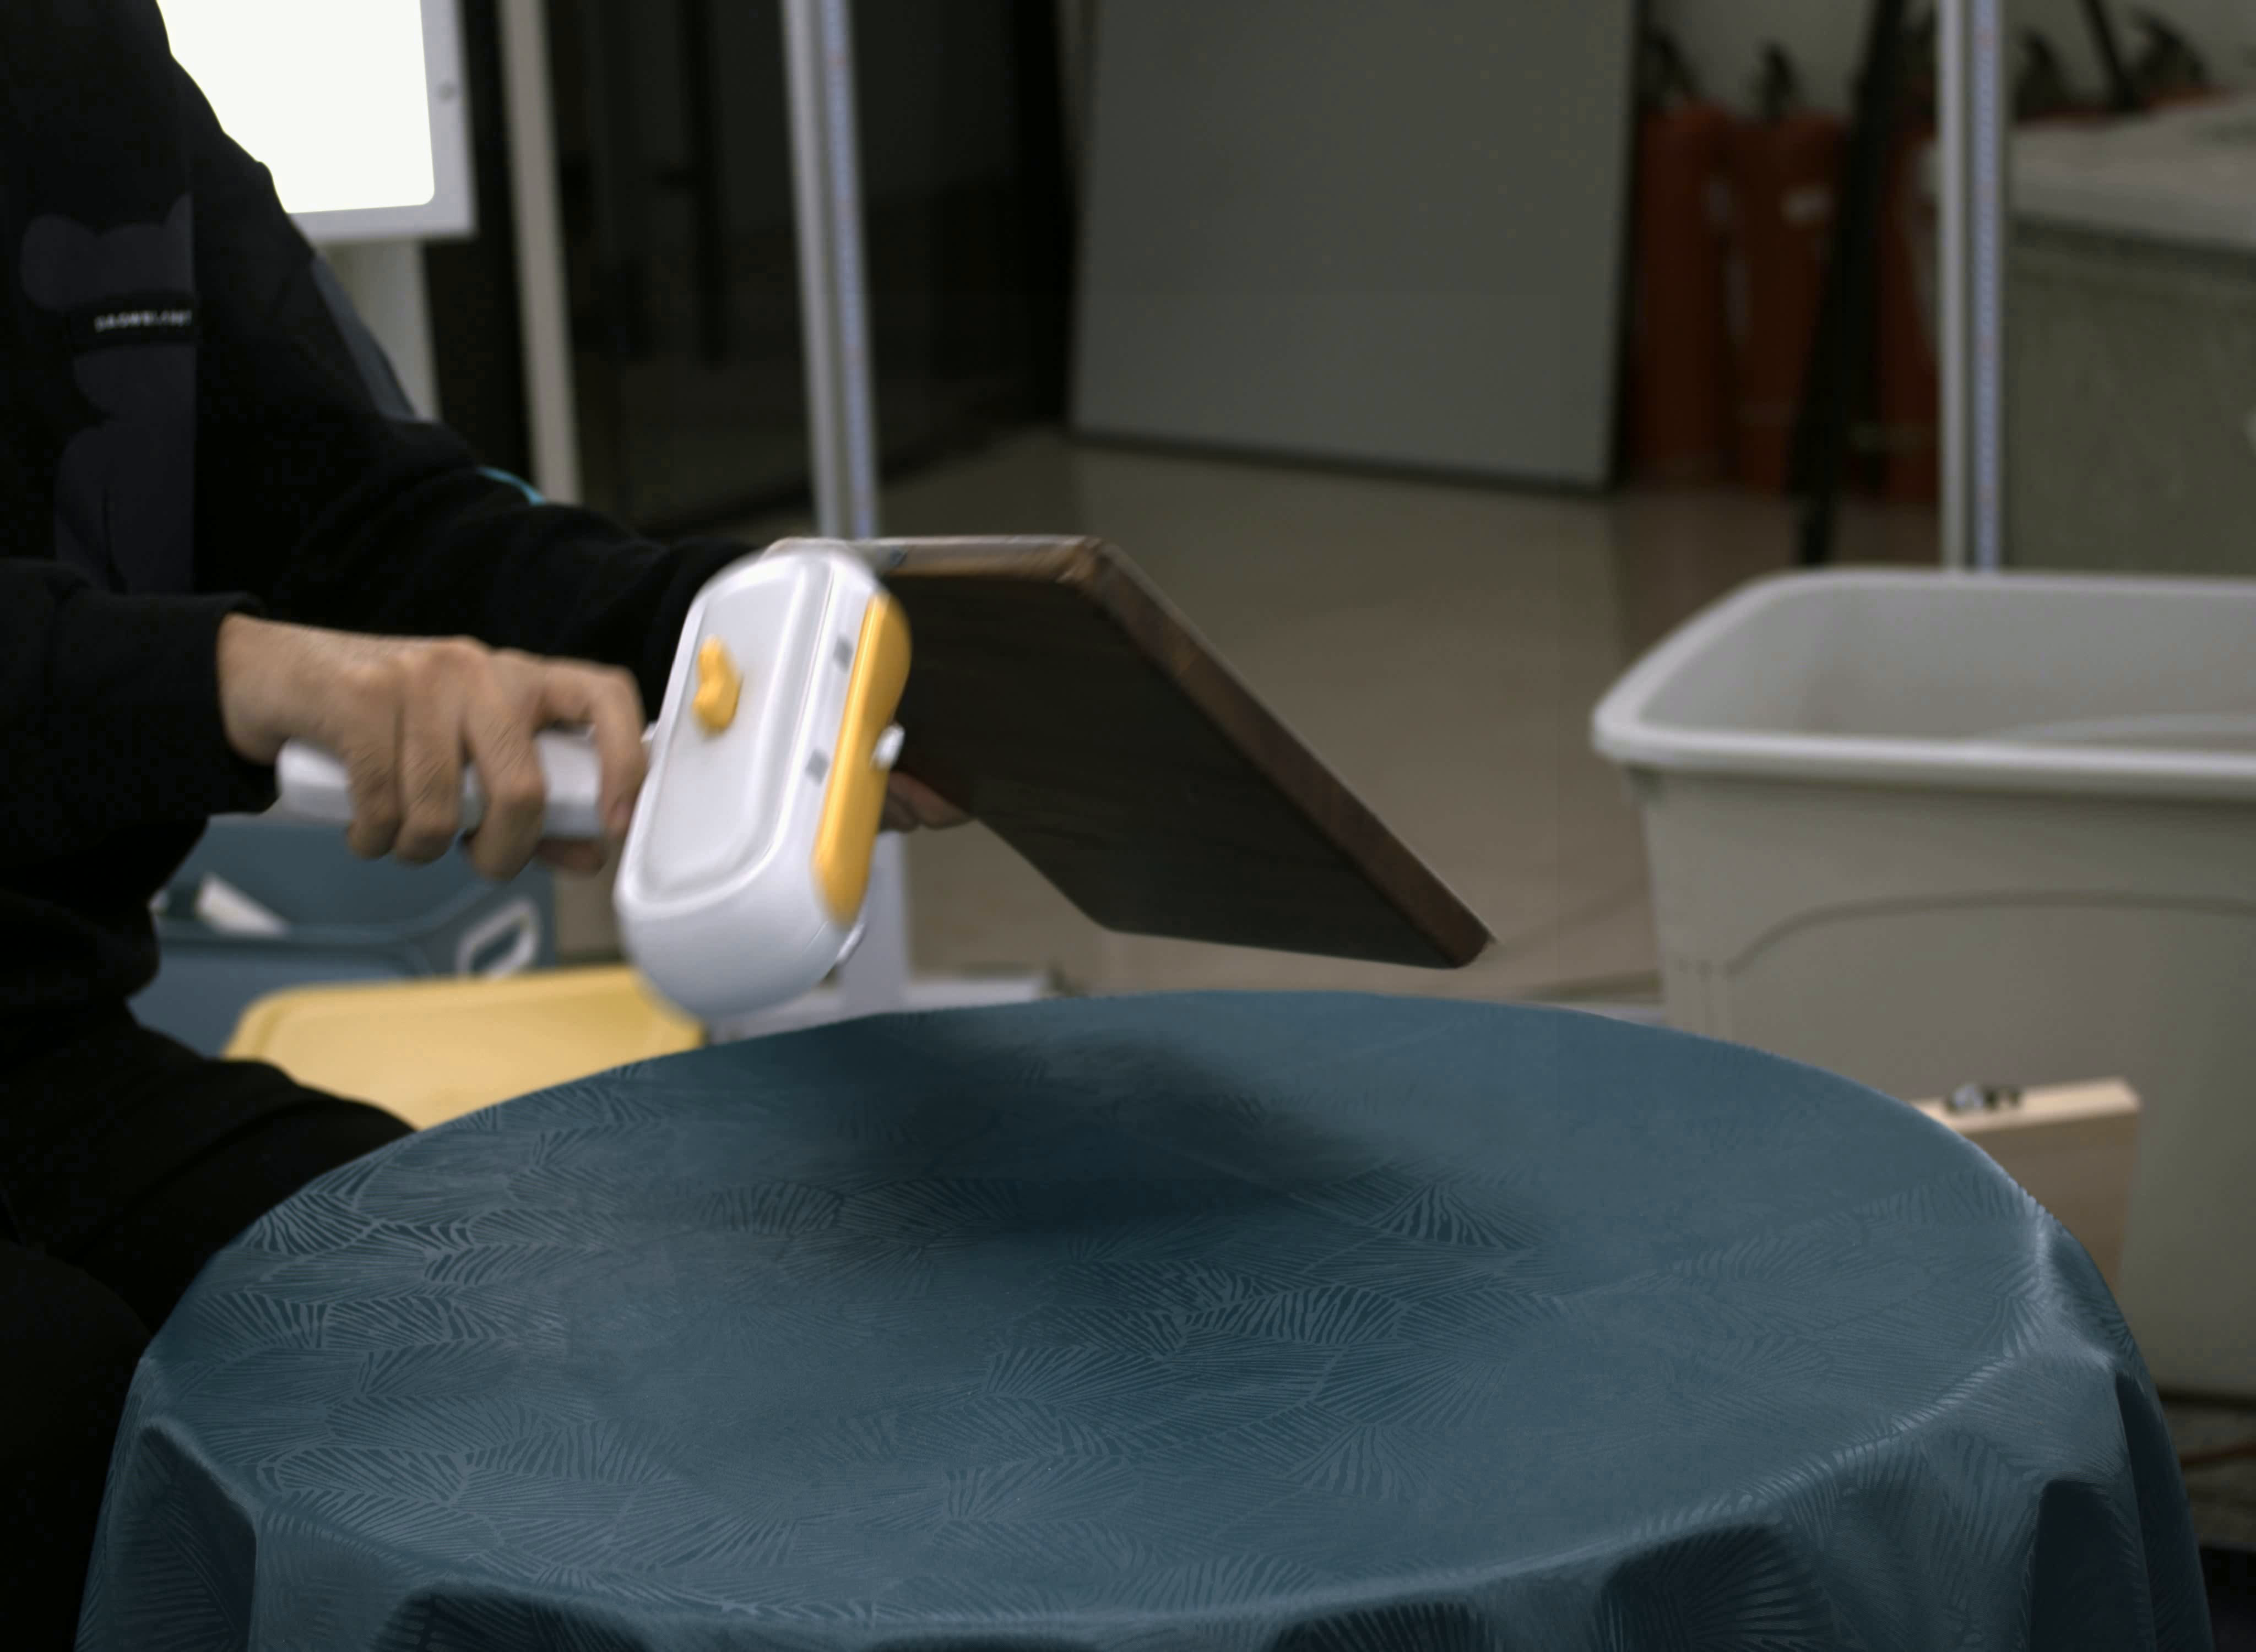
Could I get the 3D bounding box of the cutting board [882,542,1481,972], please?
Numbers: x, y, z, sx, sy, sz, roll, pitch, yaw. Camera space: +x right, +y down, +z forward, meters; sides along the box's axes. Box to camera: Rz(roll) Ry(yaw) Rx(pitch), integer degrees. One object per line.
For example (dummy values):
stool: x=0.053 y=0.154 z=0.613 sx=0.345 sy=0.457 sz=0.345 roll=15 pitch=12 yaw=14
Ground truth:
cutting board: x=-0.034 y=-0.026 z=1.854 sx=0.023 sy=0.199 sz=0.355 roll=-54 pitch=23 yaw=-16

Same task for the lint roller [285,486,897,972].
lint roller: x=-0.166 y=-0.024 z=1.692 sx=0.191 sy=0.074 sz=0.194 roll=-14 pitch=42 yaw=12
